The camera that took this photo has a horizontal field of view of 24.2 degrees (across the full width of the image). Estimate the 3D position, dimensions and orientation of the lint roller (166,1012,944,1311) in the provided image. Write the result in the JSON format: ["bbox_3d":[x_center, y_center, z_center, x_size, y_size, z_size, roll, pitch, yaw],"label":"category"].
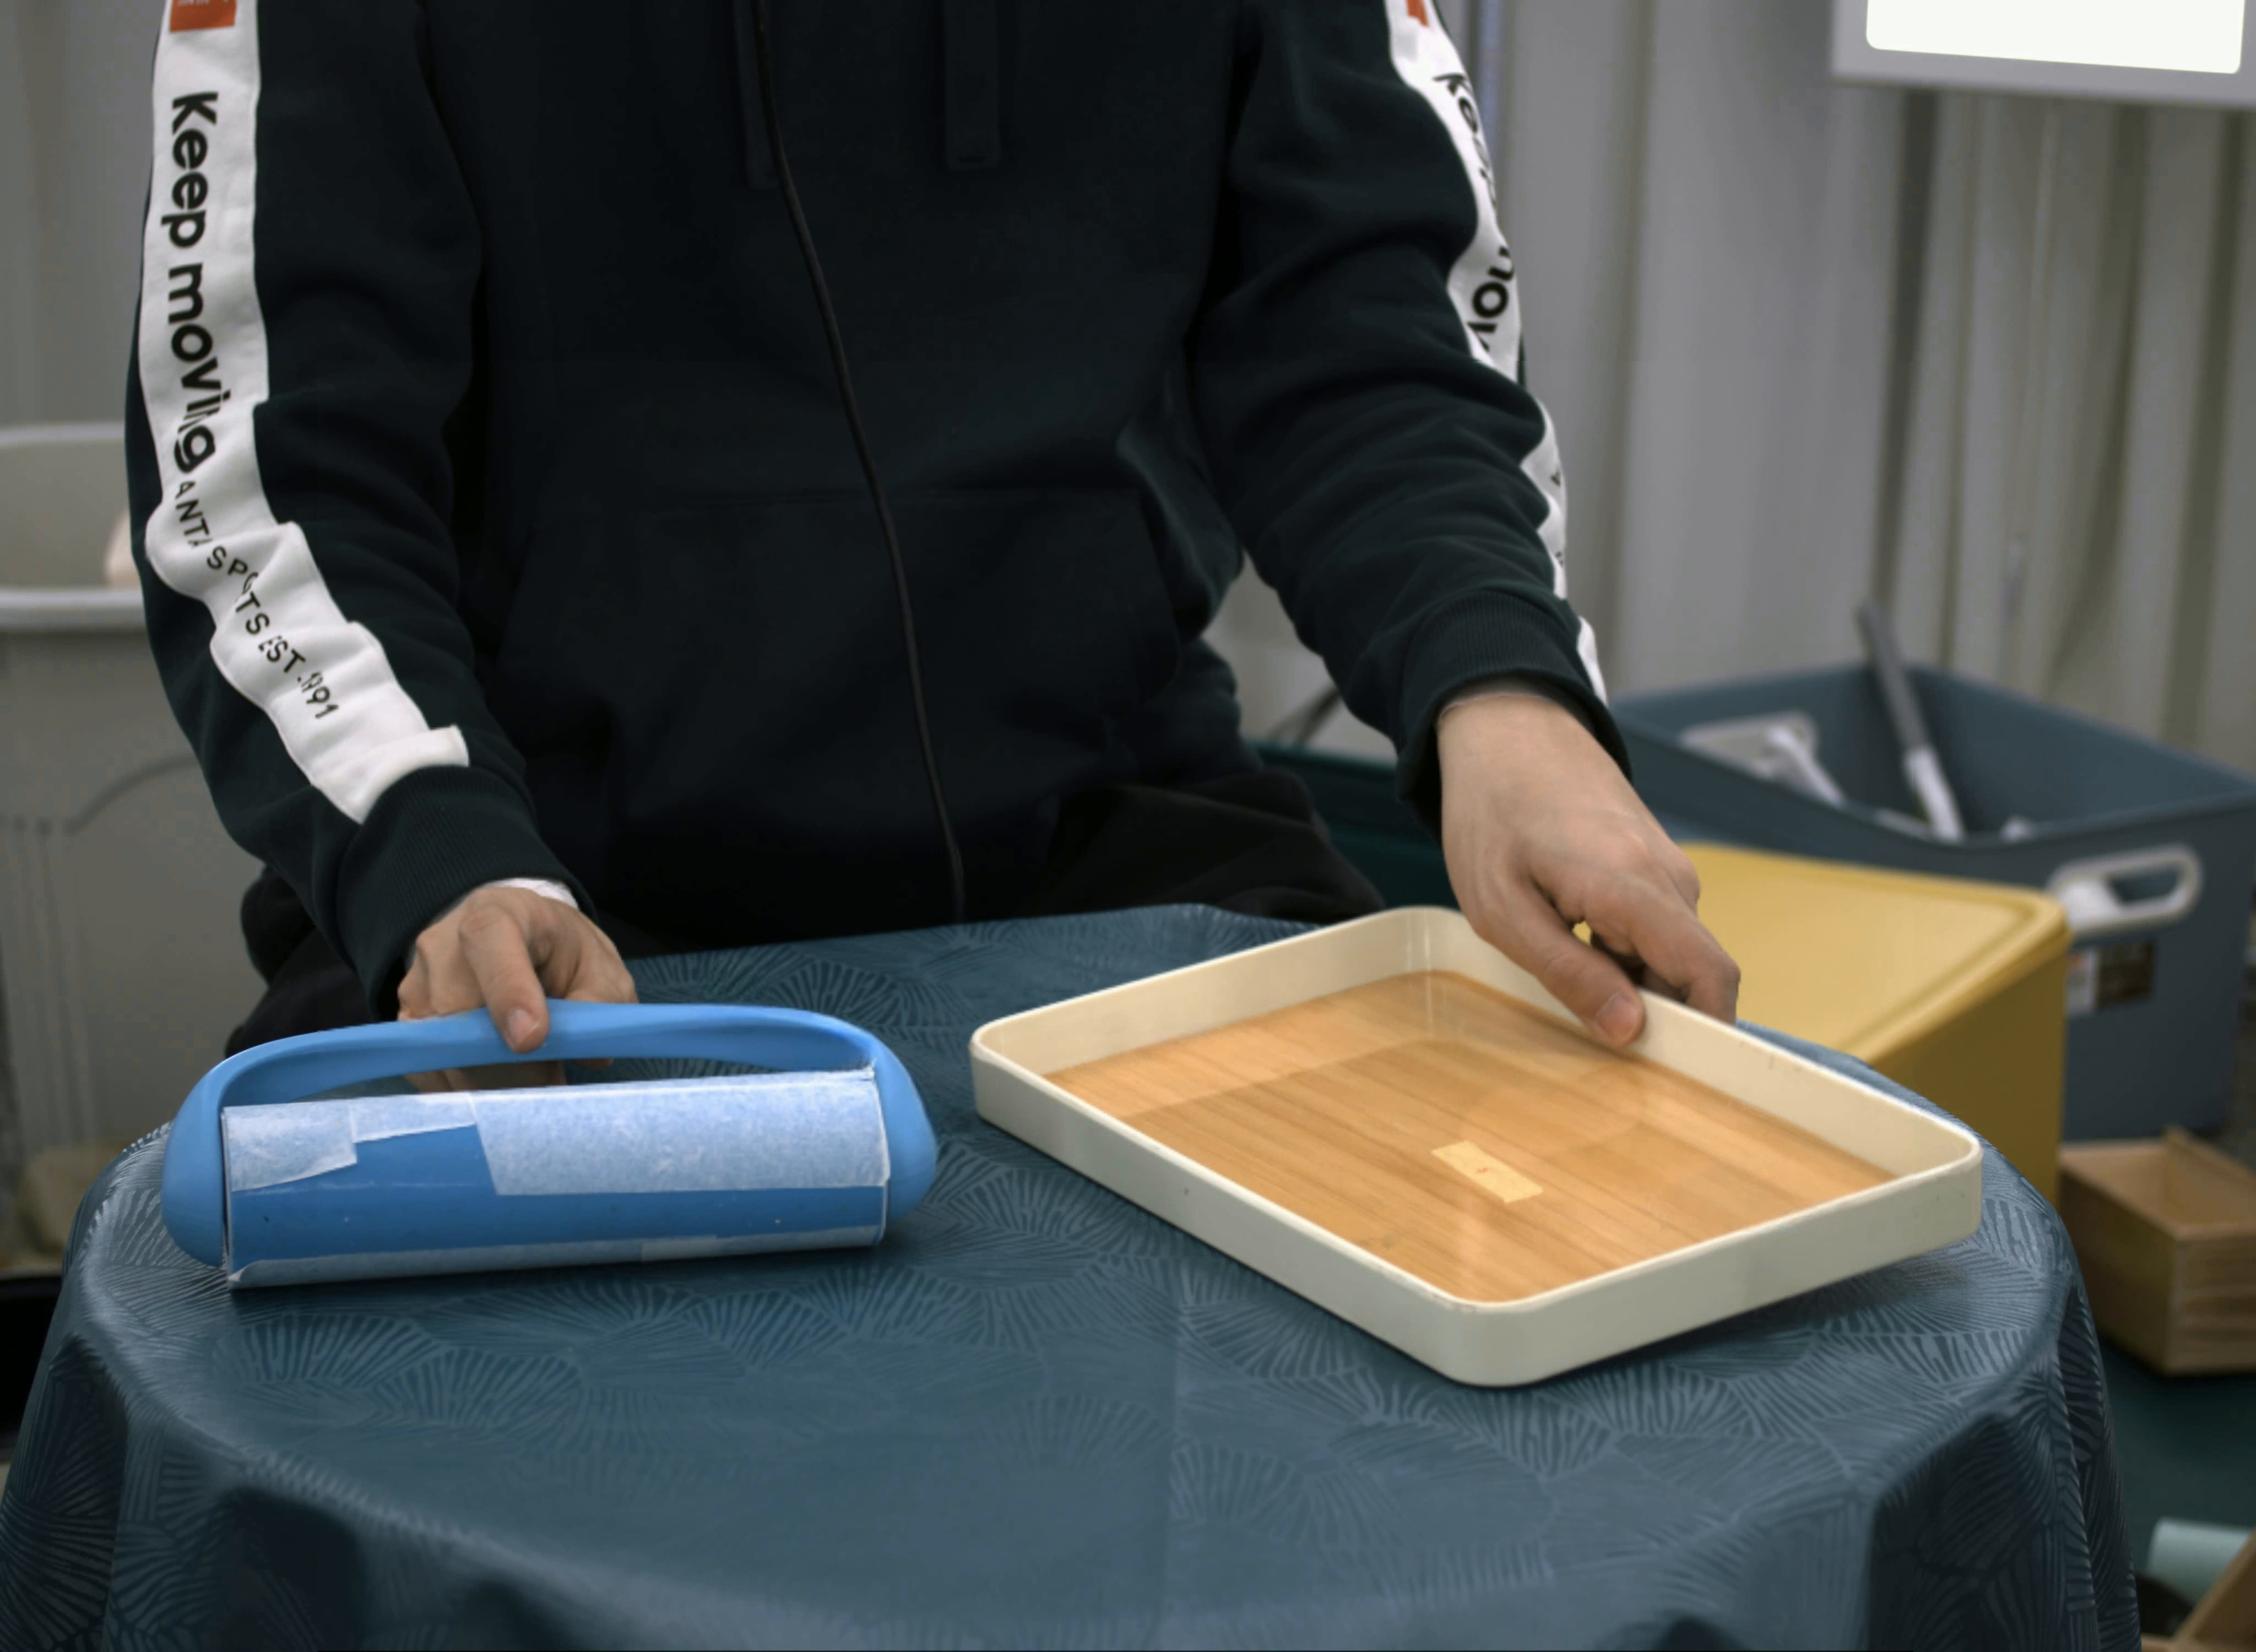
[{"bbox_3d":[-0.182,0.088,1.598,0.229,0.068,0.178,-6,19,-15],"label":"lint roller"}]

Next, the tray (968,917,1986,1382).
[{"bbox_3d":[0.100,0.094,1.615,0.192,0.027,0.296,-13,20,-29],"label":"tray"}]
